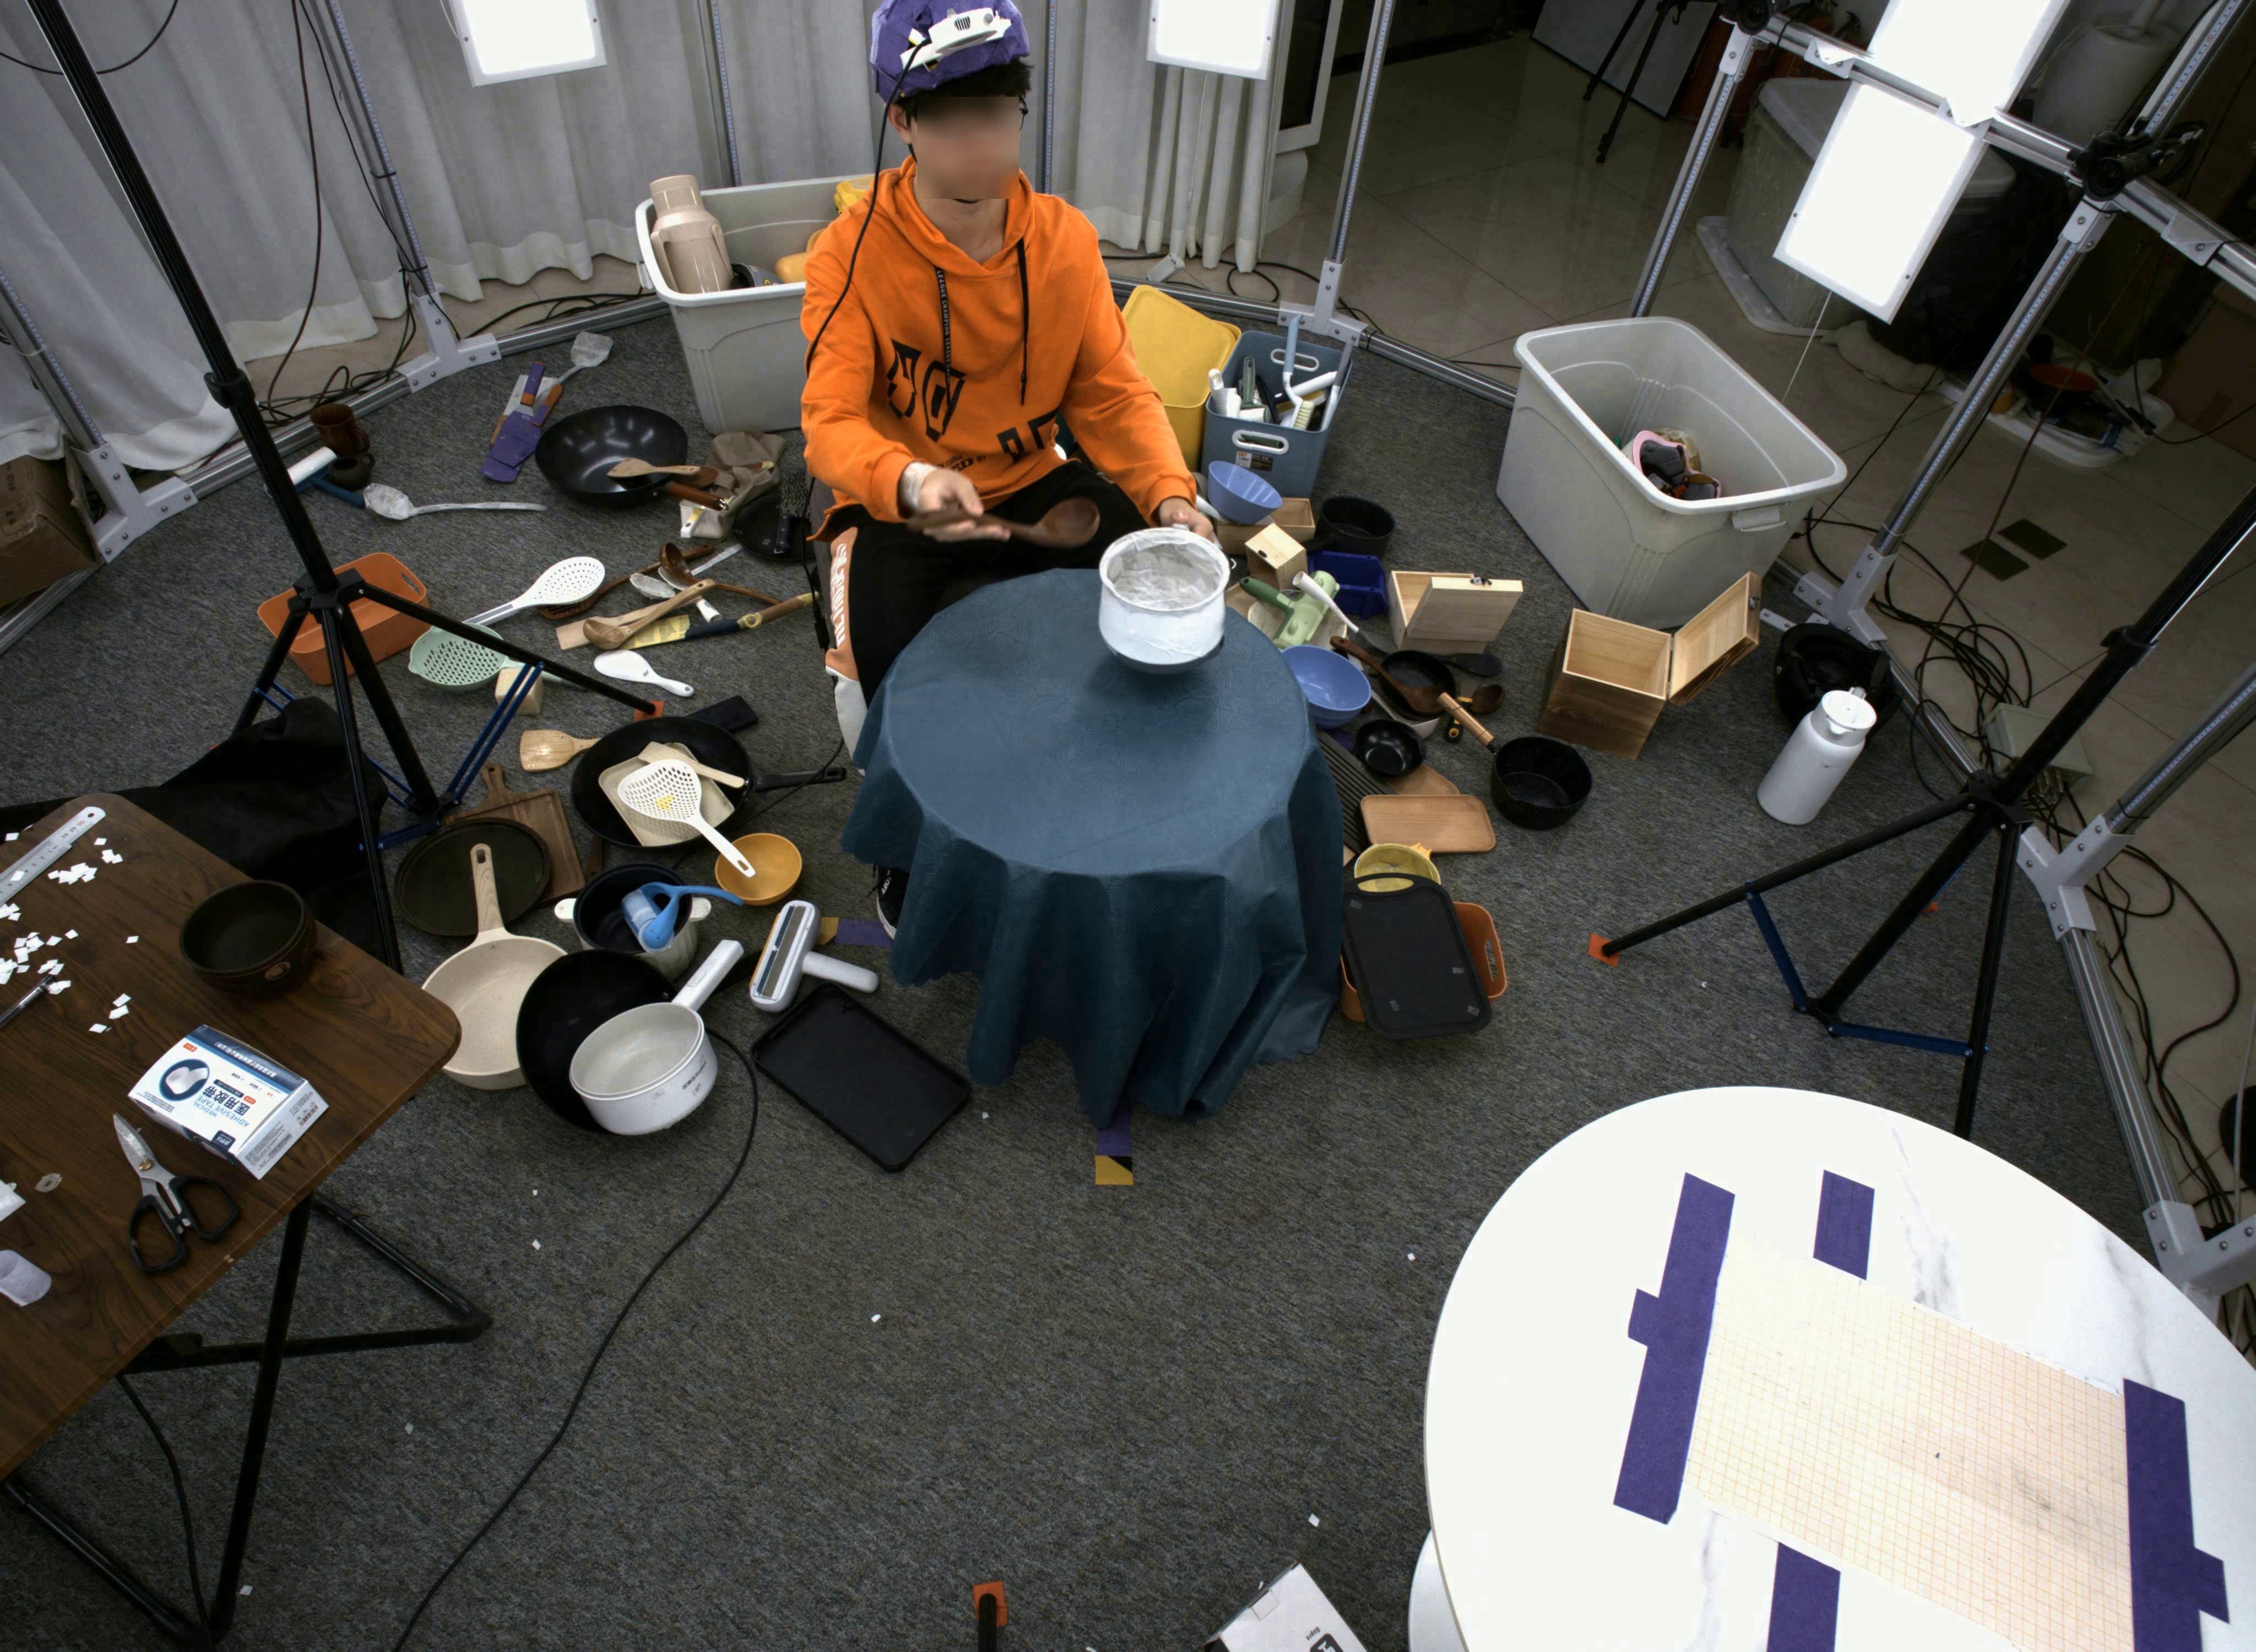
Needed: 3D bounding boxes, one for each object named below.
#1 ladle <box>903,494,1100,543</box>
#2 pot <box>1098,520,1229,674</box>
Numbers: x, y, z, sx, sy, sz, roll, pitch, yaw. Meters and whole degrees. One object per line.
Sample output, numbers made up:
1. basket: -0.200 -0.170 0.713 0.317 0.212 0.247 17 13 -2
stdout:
1. ladle: -0.152 -0.391 1.598 0.259 0.064 0.078 -1 36 -35
2. pot: 0.053 -0.330 1.806 0.179 0.133 0.239 10 49 7
